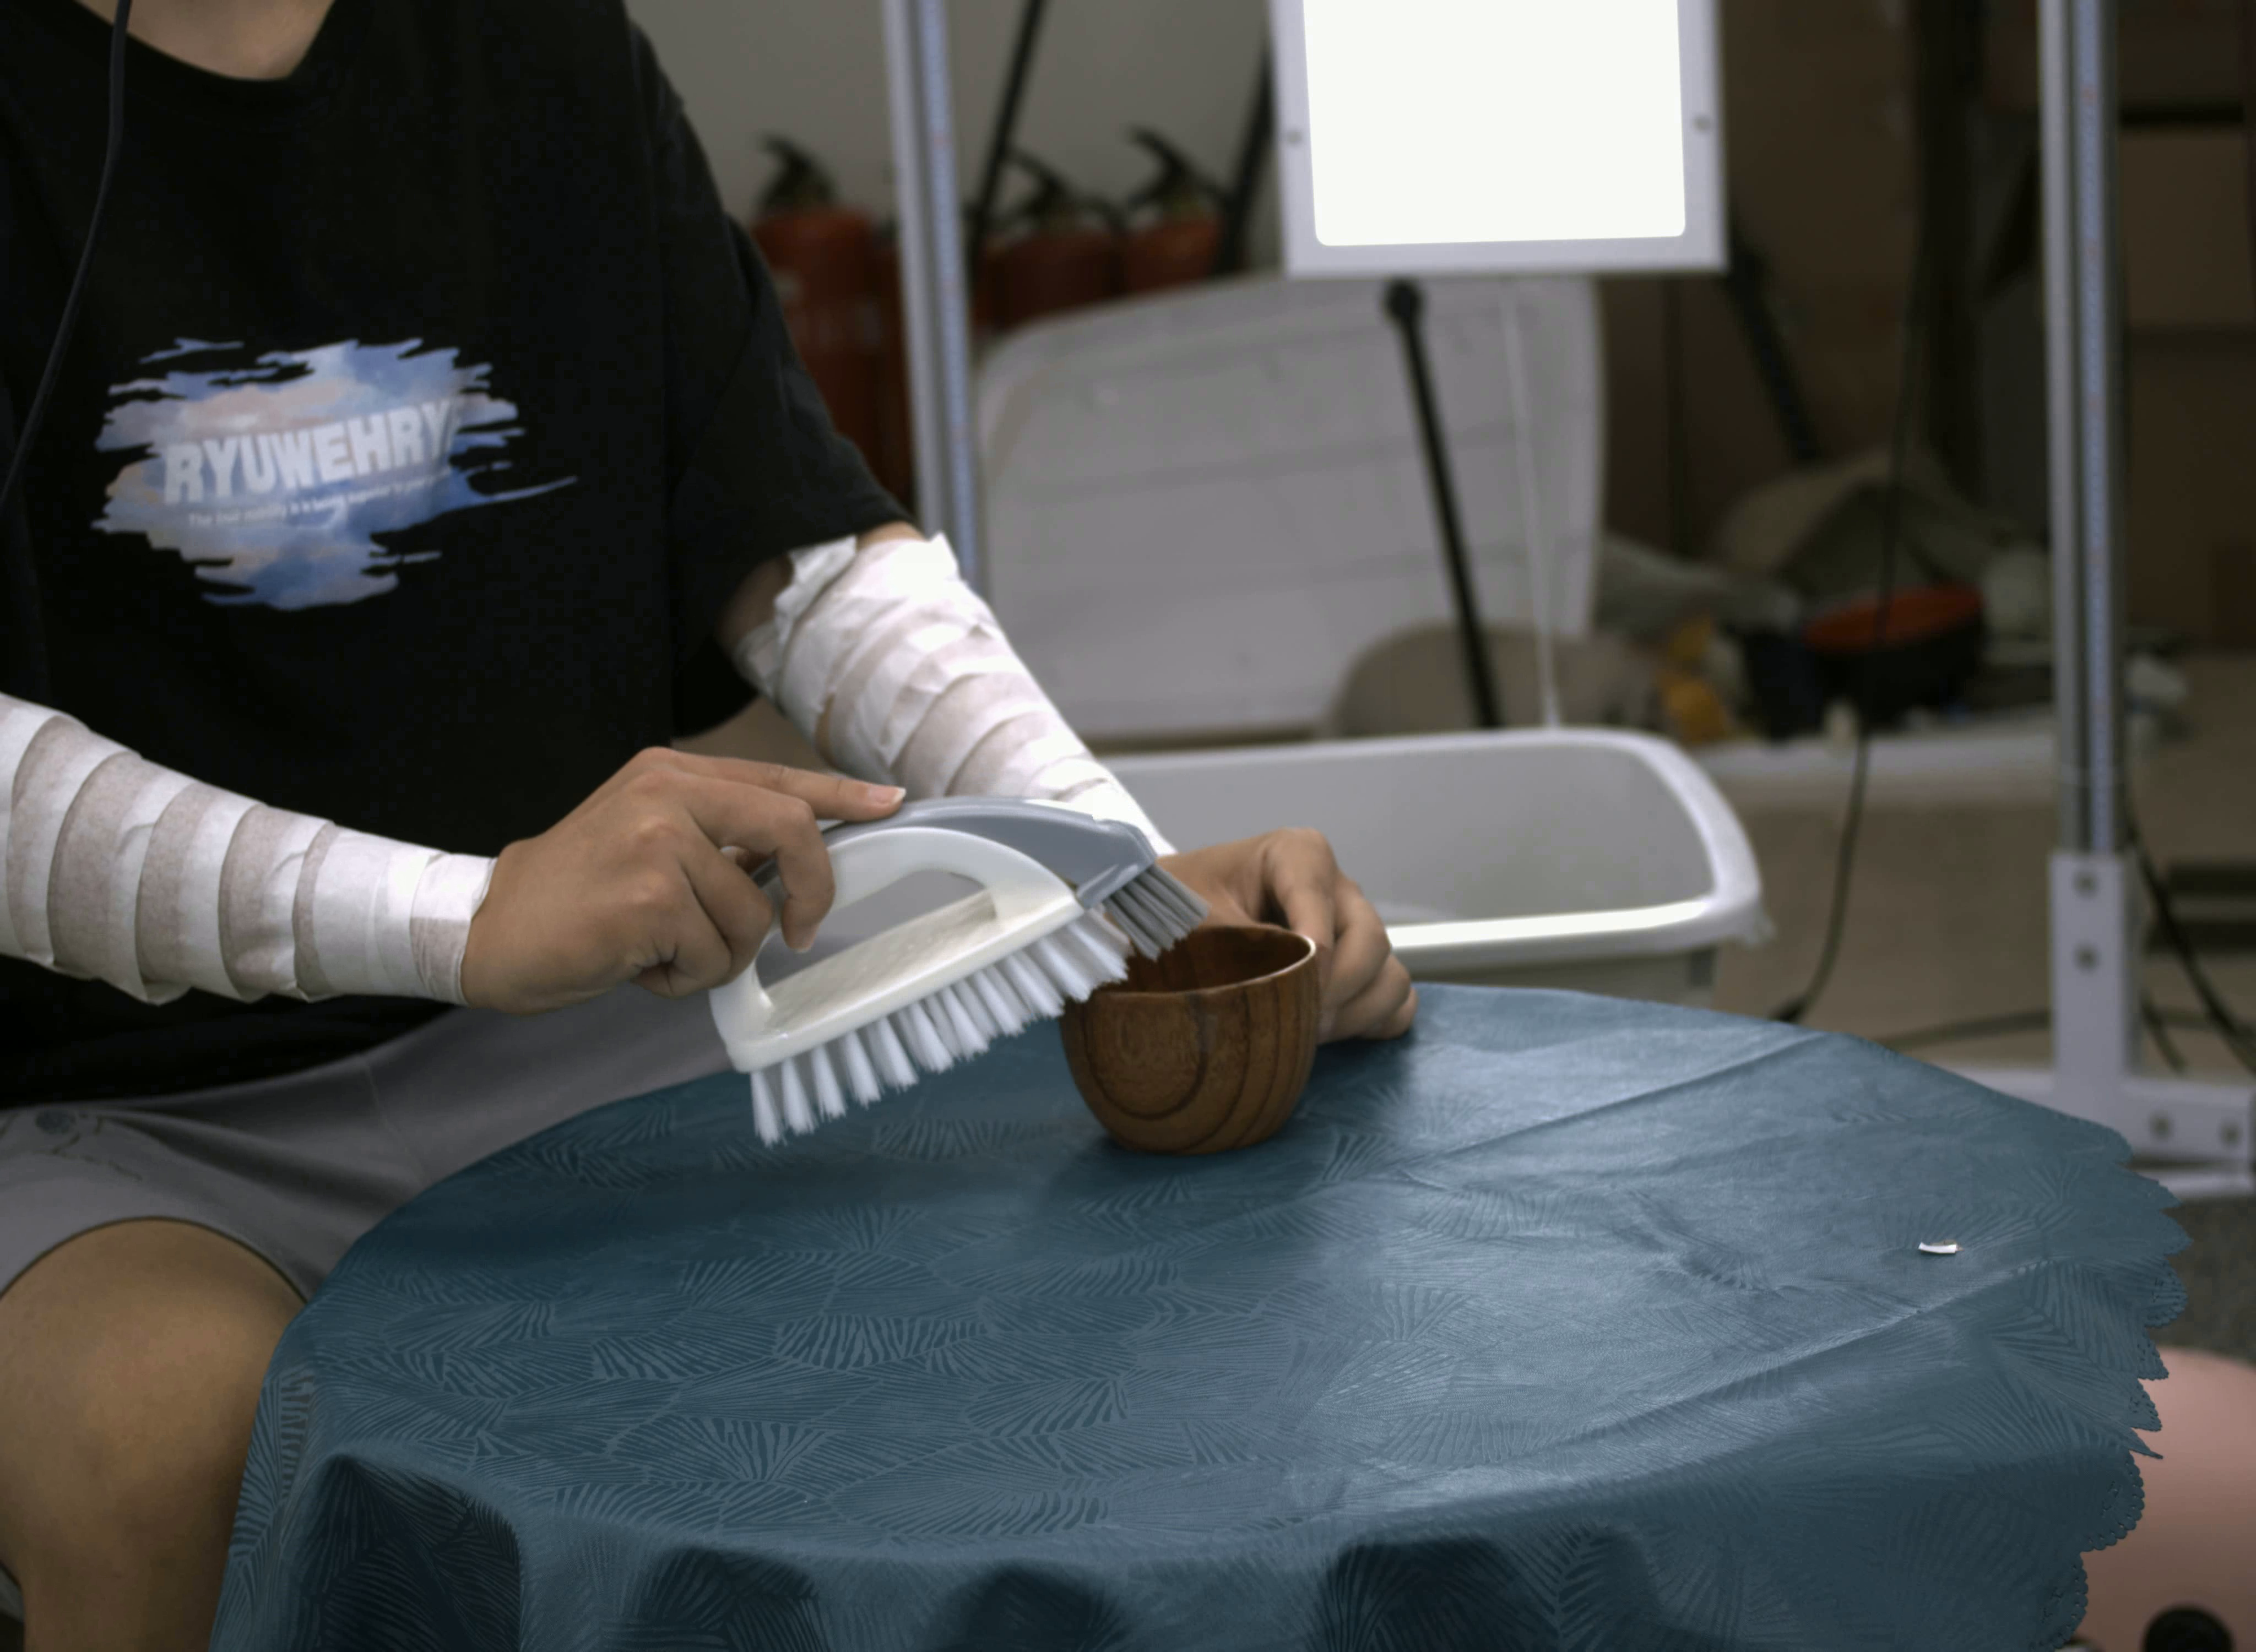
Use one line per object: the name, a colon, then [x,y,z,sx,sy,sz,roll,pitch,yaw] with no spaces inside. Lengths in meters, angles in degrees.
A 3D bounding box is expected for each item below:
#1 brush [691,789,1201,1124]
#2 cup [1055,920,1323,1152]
brush: [-0.070,0.030,1.926,0.177,0.094,0.061,-22,24,12]
cup: [0.030,0.074,1.963,0.098,0.068,0.116,2,14,35]
